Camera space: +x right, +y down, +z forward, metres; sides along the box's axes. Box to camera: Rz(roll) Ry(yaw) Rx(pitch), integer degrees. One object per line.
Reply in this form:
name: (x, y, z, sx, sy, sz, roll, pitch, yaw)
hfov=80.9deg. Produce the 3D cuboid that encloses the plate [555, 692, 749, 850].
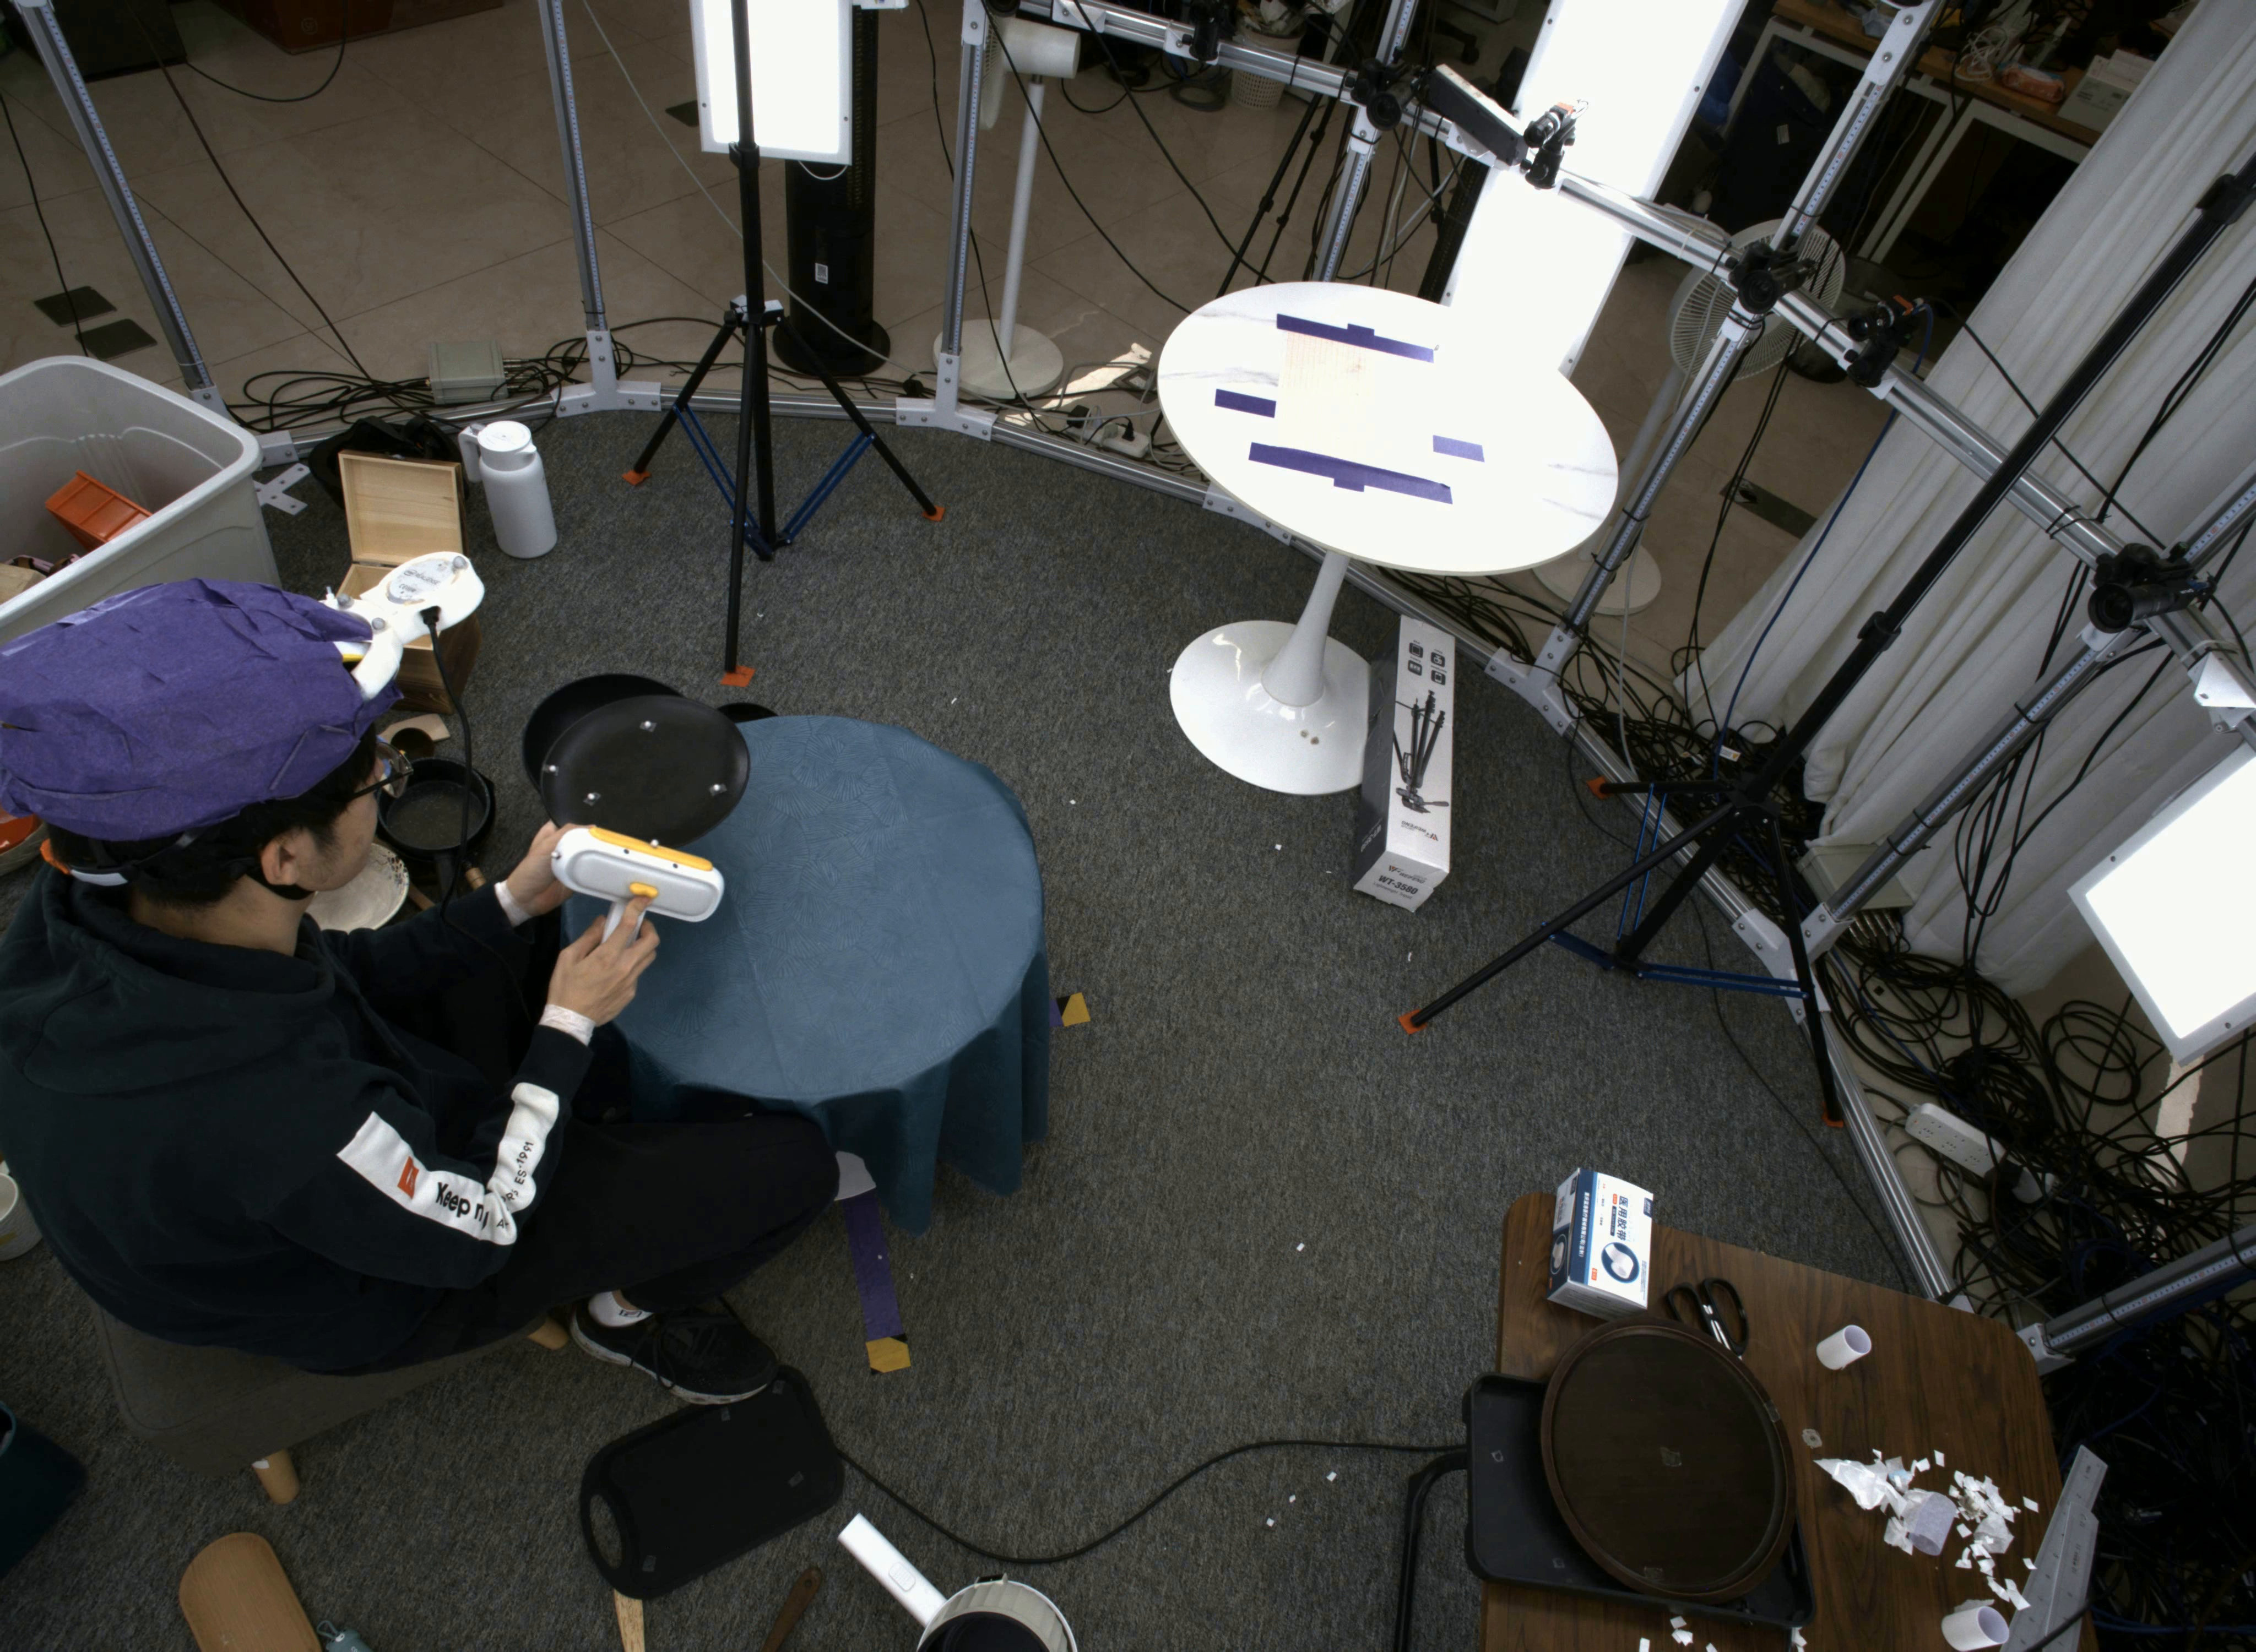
plate: (-0.574, -0.064, 1.532, 0.243, 0.024, 0.240, 5, 54, -6)

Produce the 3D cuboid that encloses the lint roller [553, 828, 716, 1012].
lint roller: (-0.573, 0.109, 1.444, 0.198, 0.195, 0.071, 14, 11, -41)
